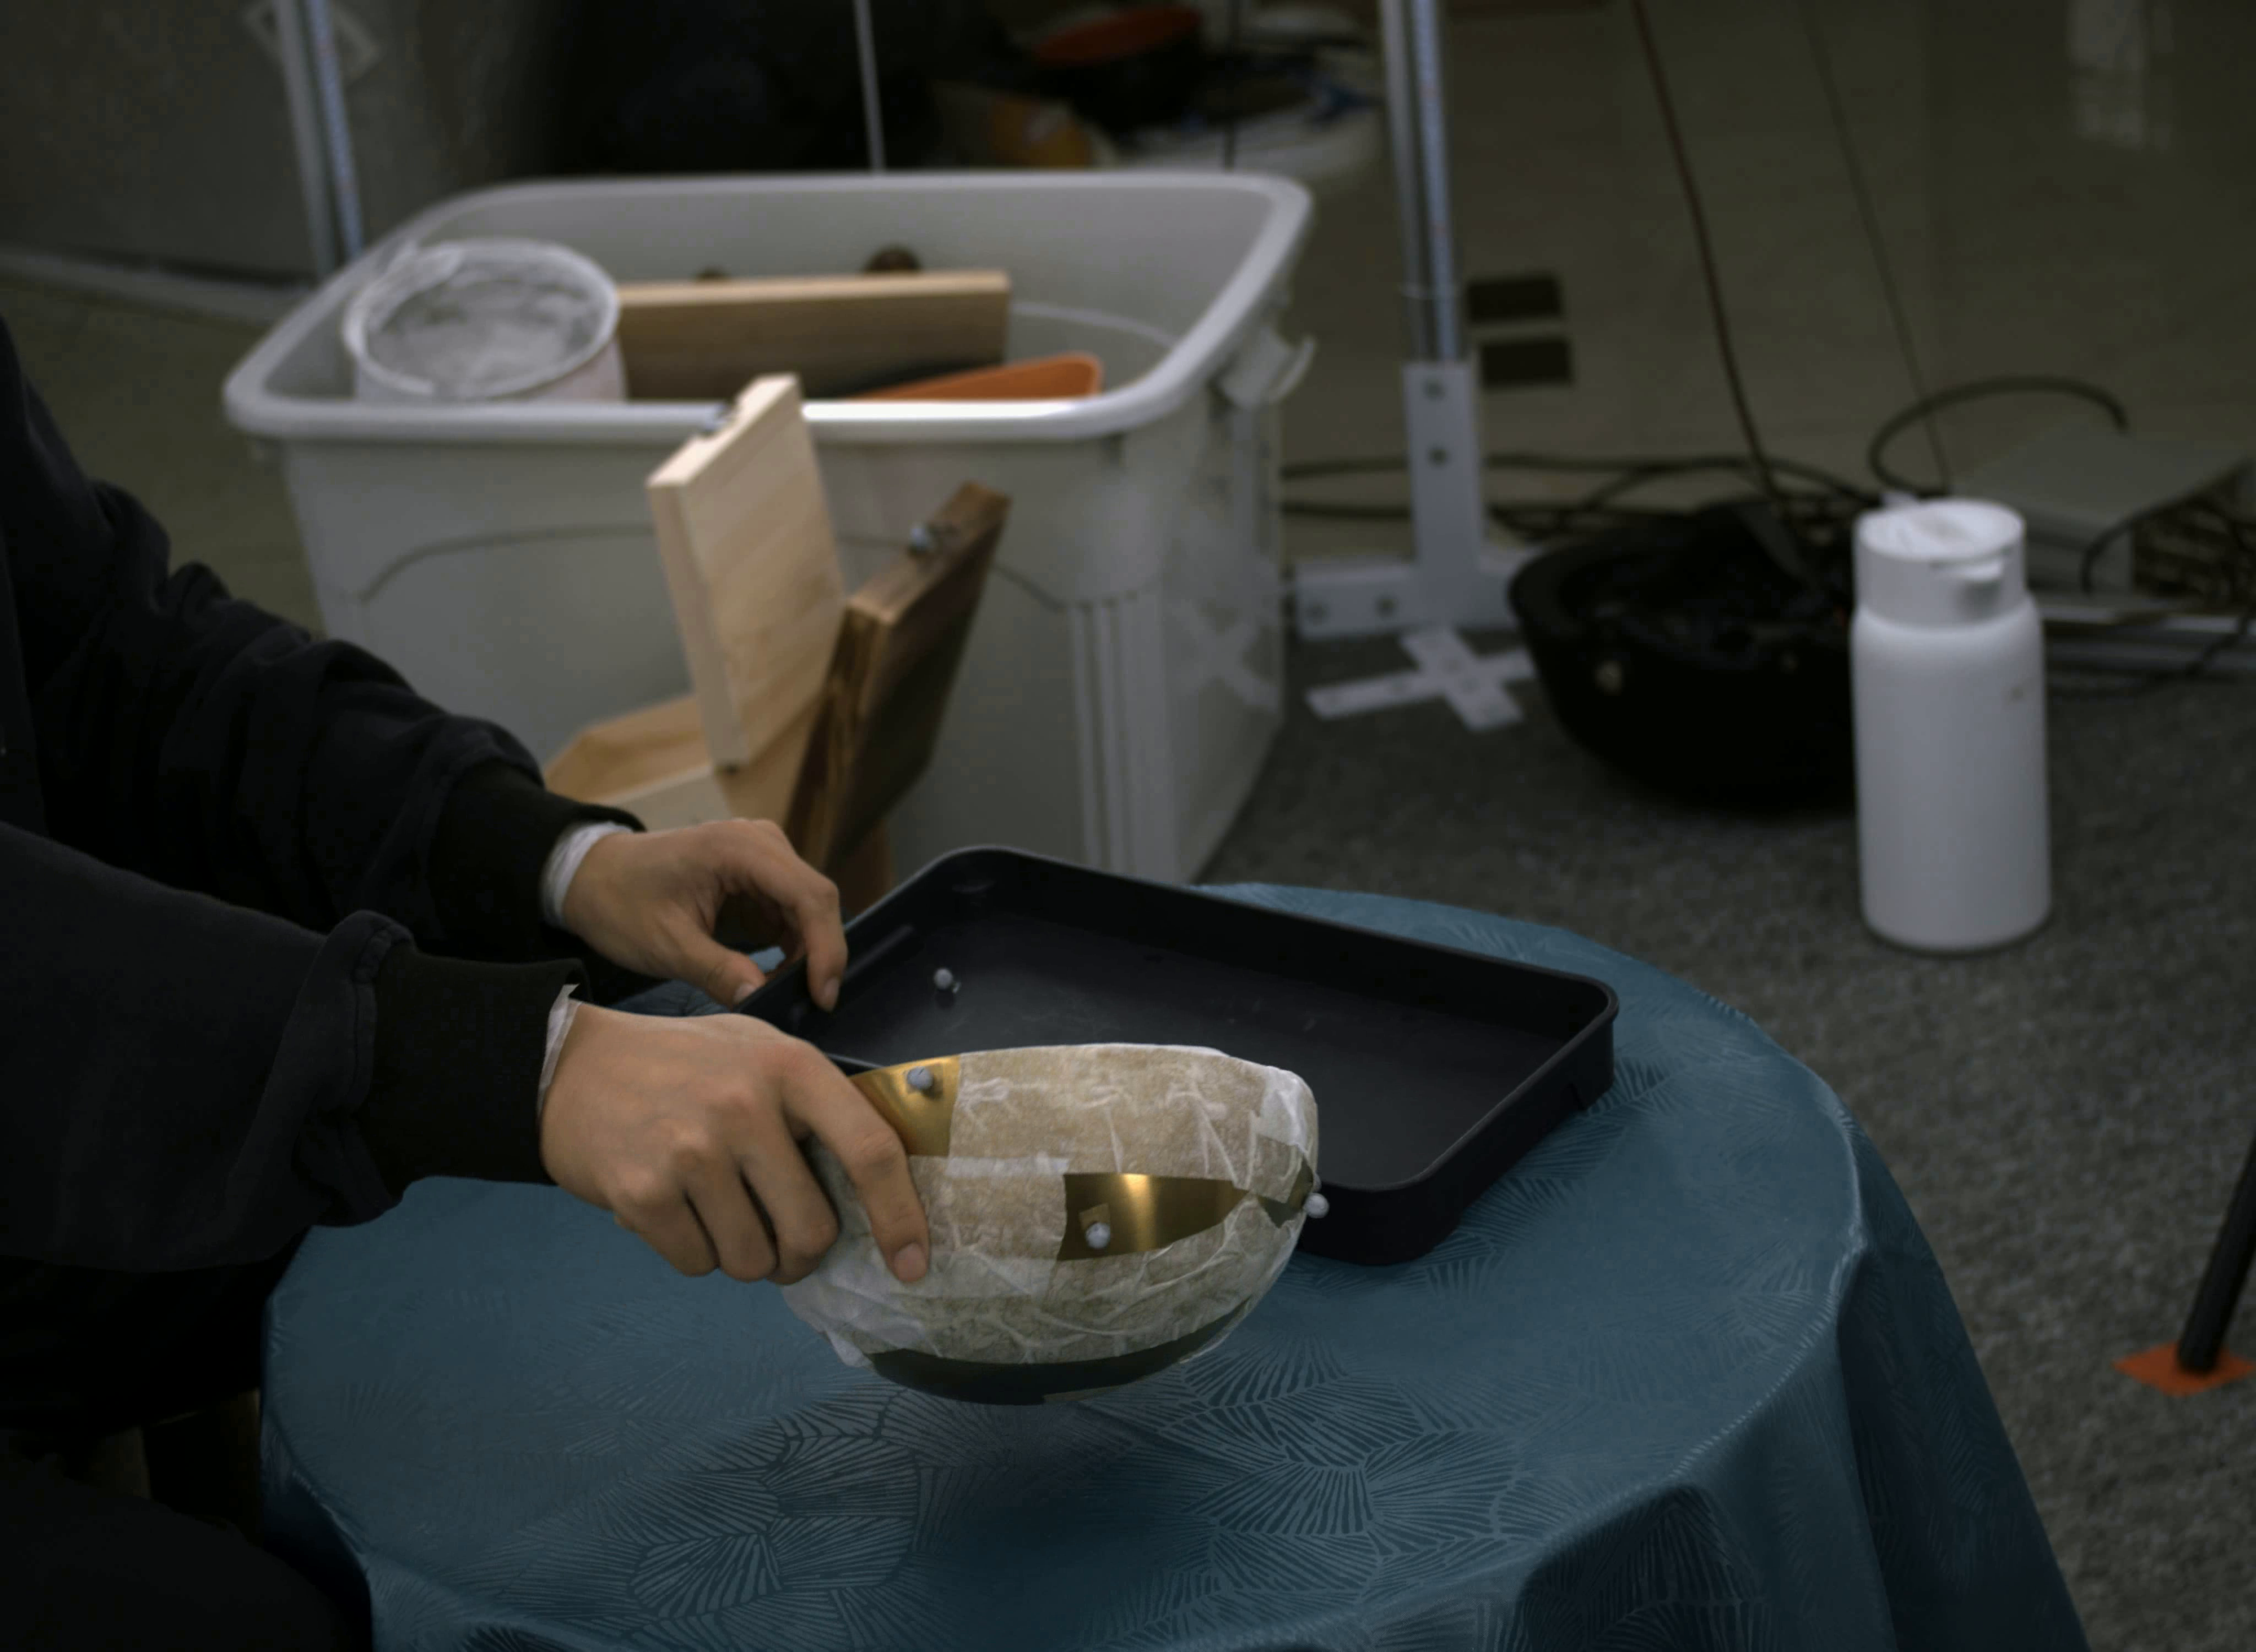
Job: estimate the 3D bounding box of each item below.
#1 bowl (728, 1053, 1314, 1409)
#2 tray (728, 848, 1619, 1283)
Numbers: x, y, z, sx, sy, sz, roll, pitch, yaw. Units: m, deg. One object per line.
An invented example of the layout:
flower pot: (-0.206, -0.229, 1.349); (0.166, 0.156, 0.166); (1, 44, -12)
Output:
bowl: (-0.034, 0.148, 1.944); (0.214, 0.094, 0.217); (-5, -17, -1)
tray: (0.017, 0.089, 2.209); (0.316, 0.037, 0.182); (15, 31, 31)
